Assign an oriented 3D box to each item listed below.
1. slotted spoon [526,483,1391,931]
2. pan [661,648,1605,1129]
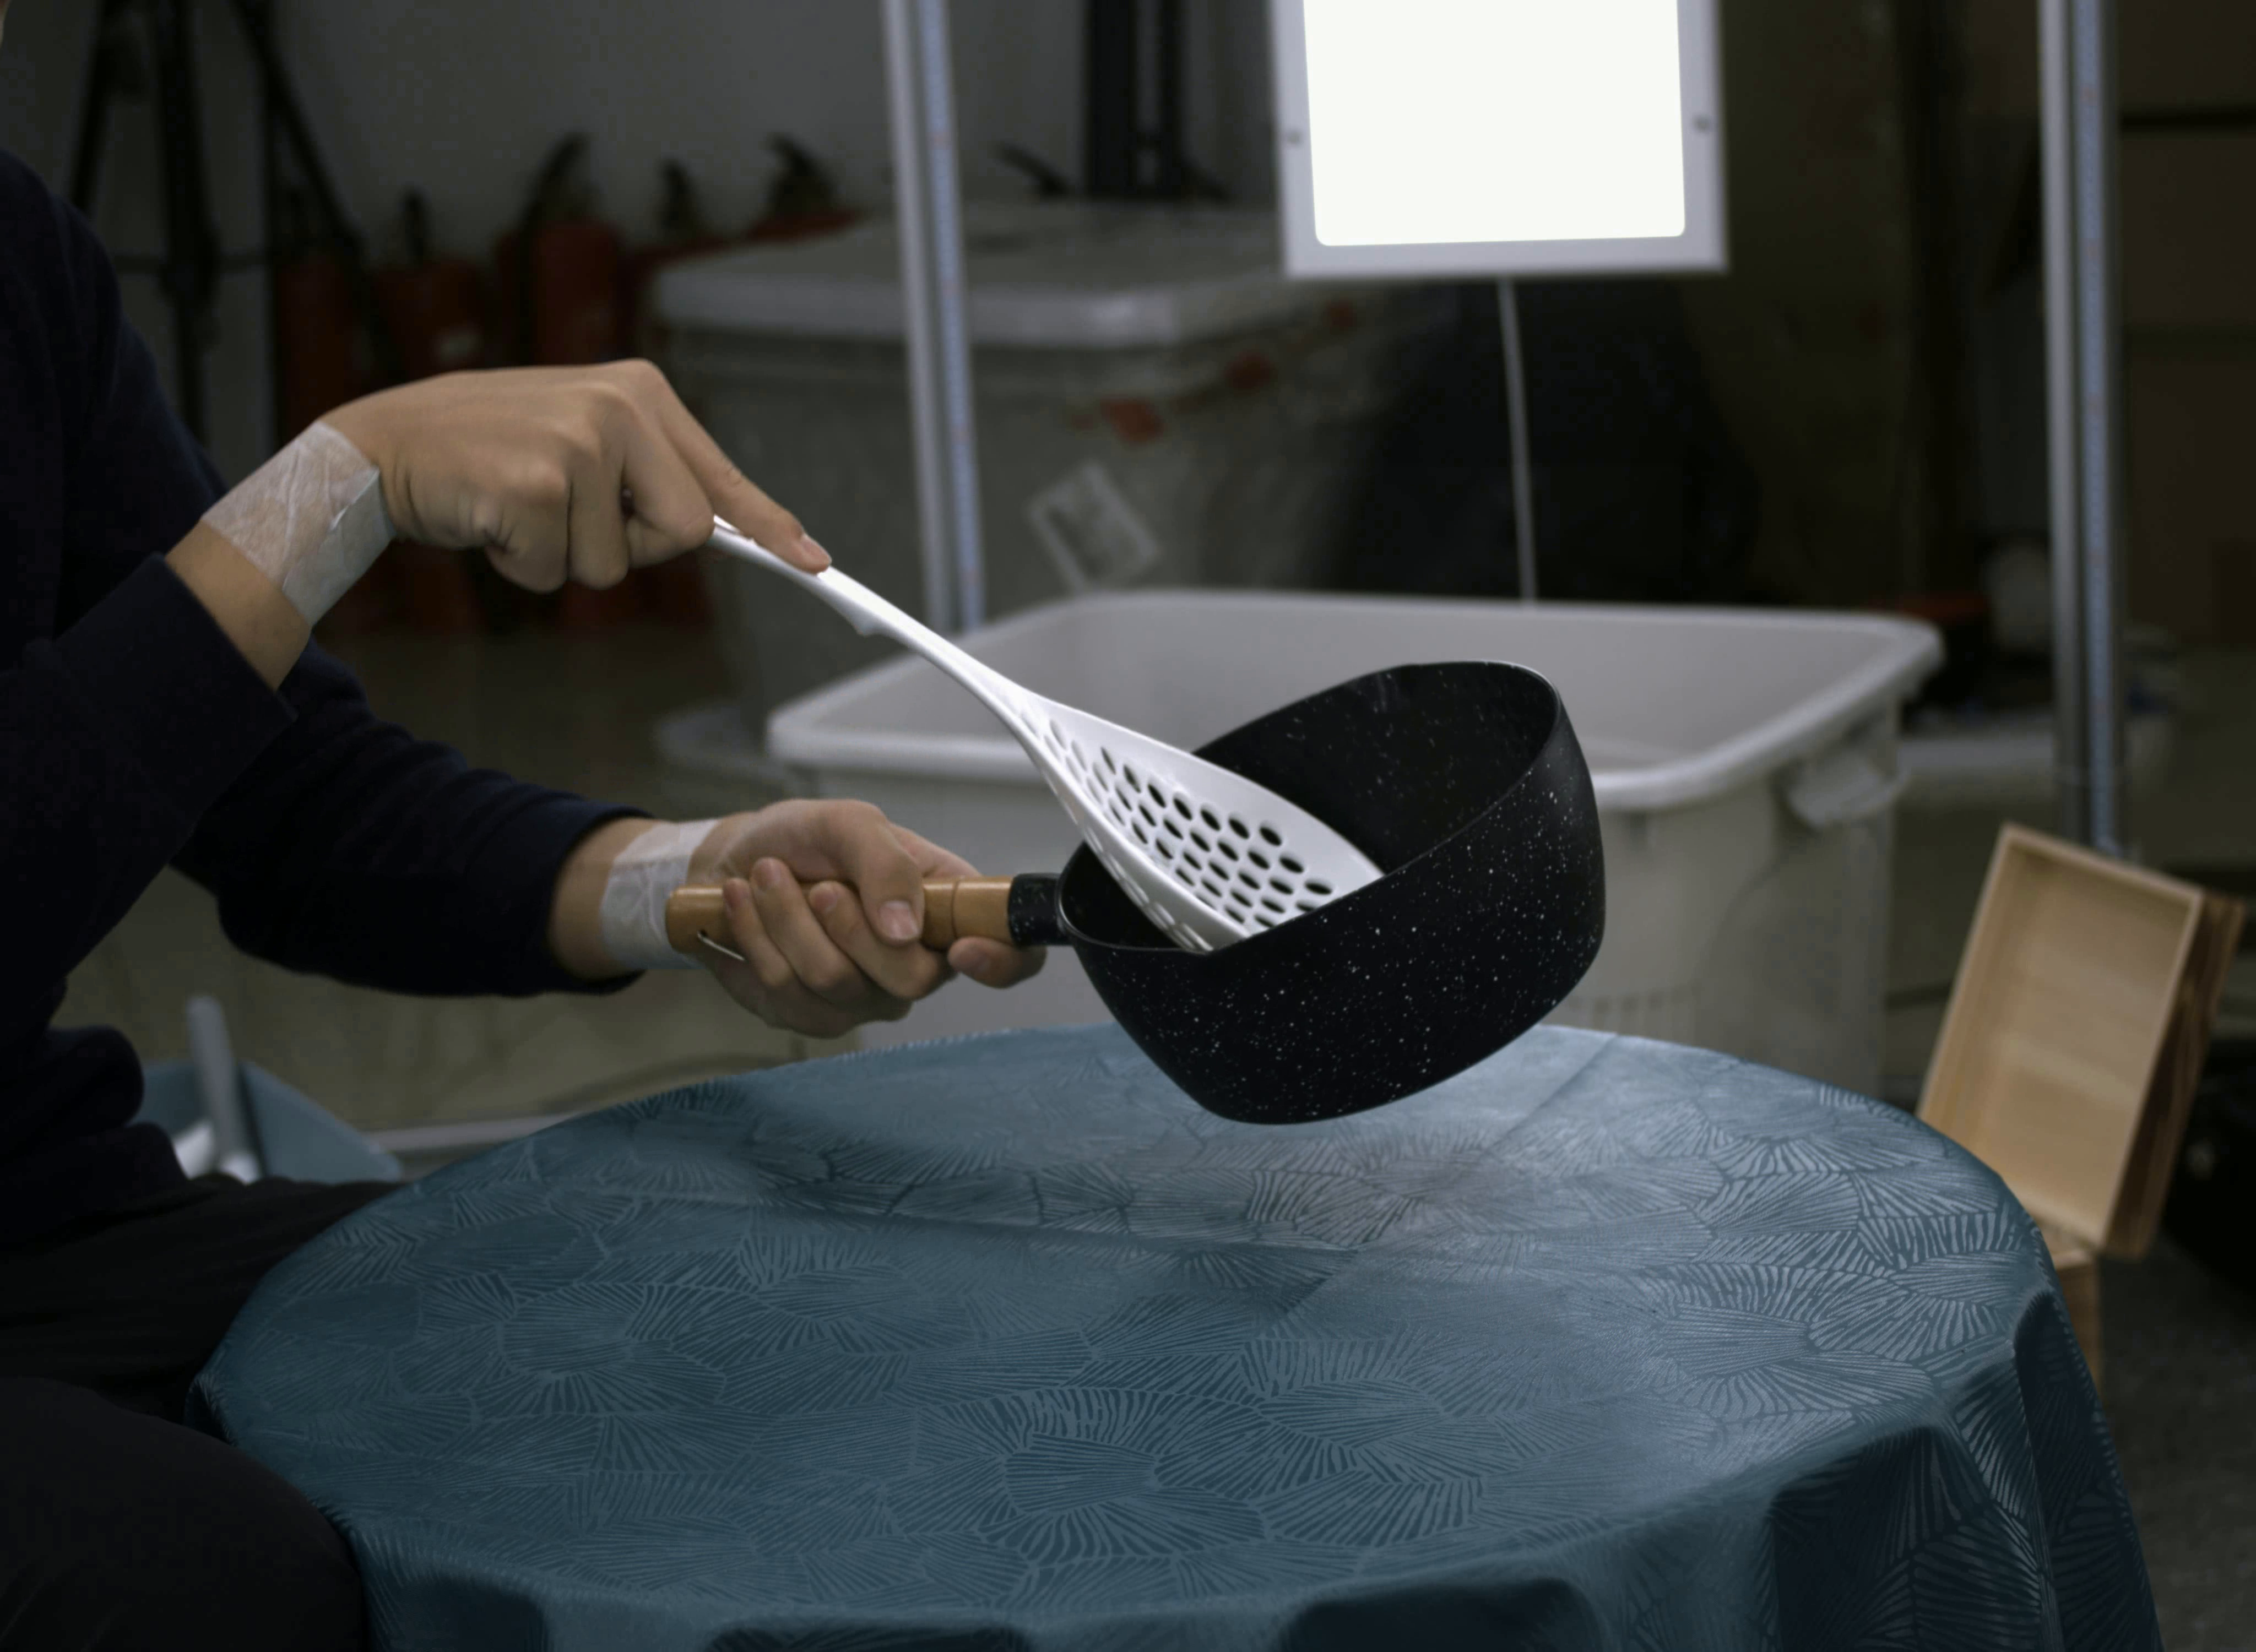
[{"bbox_3d":[-0.045,-0.033,1.843,0.345,0.051,0.136,35,21,-10],"label":"slotted spoon"},{"bbox_3d":[0.001,0.033,1.883,0.349,0.108,0.204,-13,25,27],"label":"pan"}]
